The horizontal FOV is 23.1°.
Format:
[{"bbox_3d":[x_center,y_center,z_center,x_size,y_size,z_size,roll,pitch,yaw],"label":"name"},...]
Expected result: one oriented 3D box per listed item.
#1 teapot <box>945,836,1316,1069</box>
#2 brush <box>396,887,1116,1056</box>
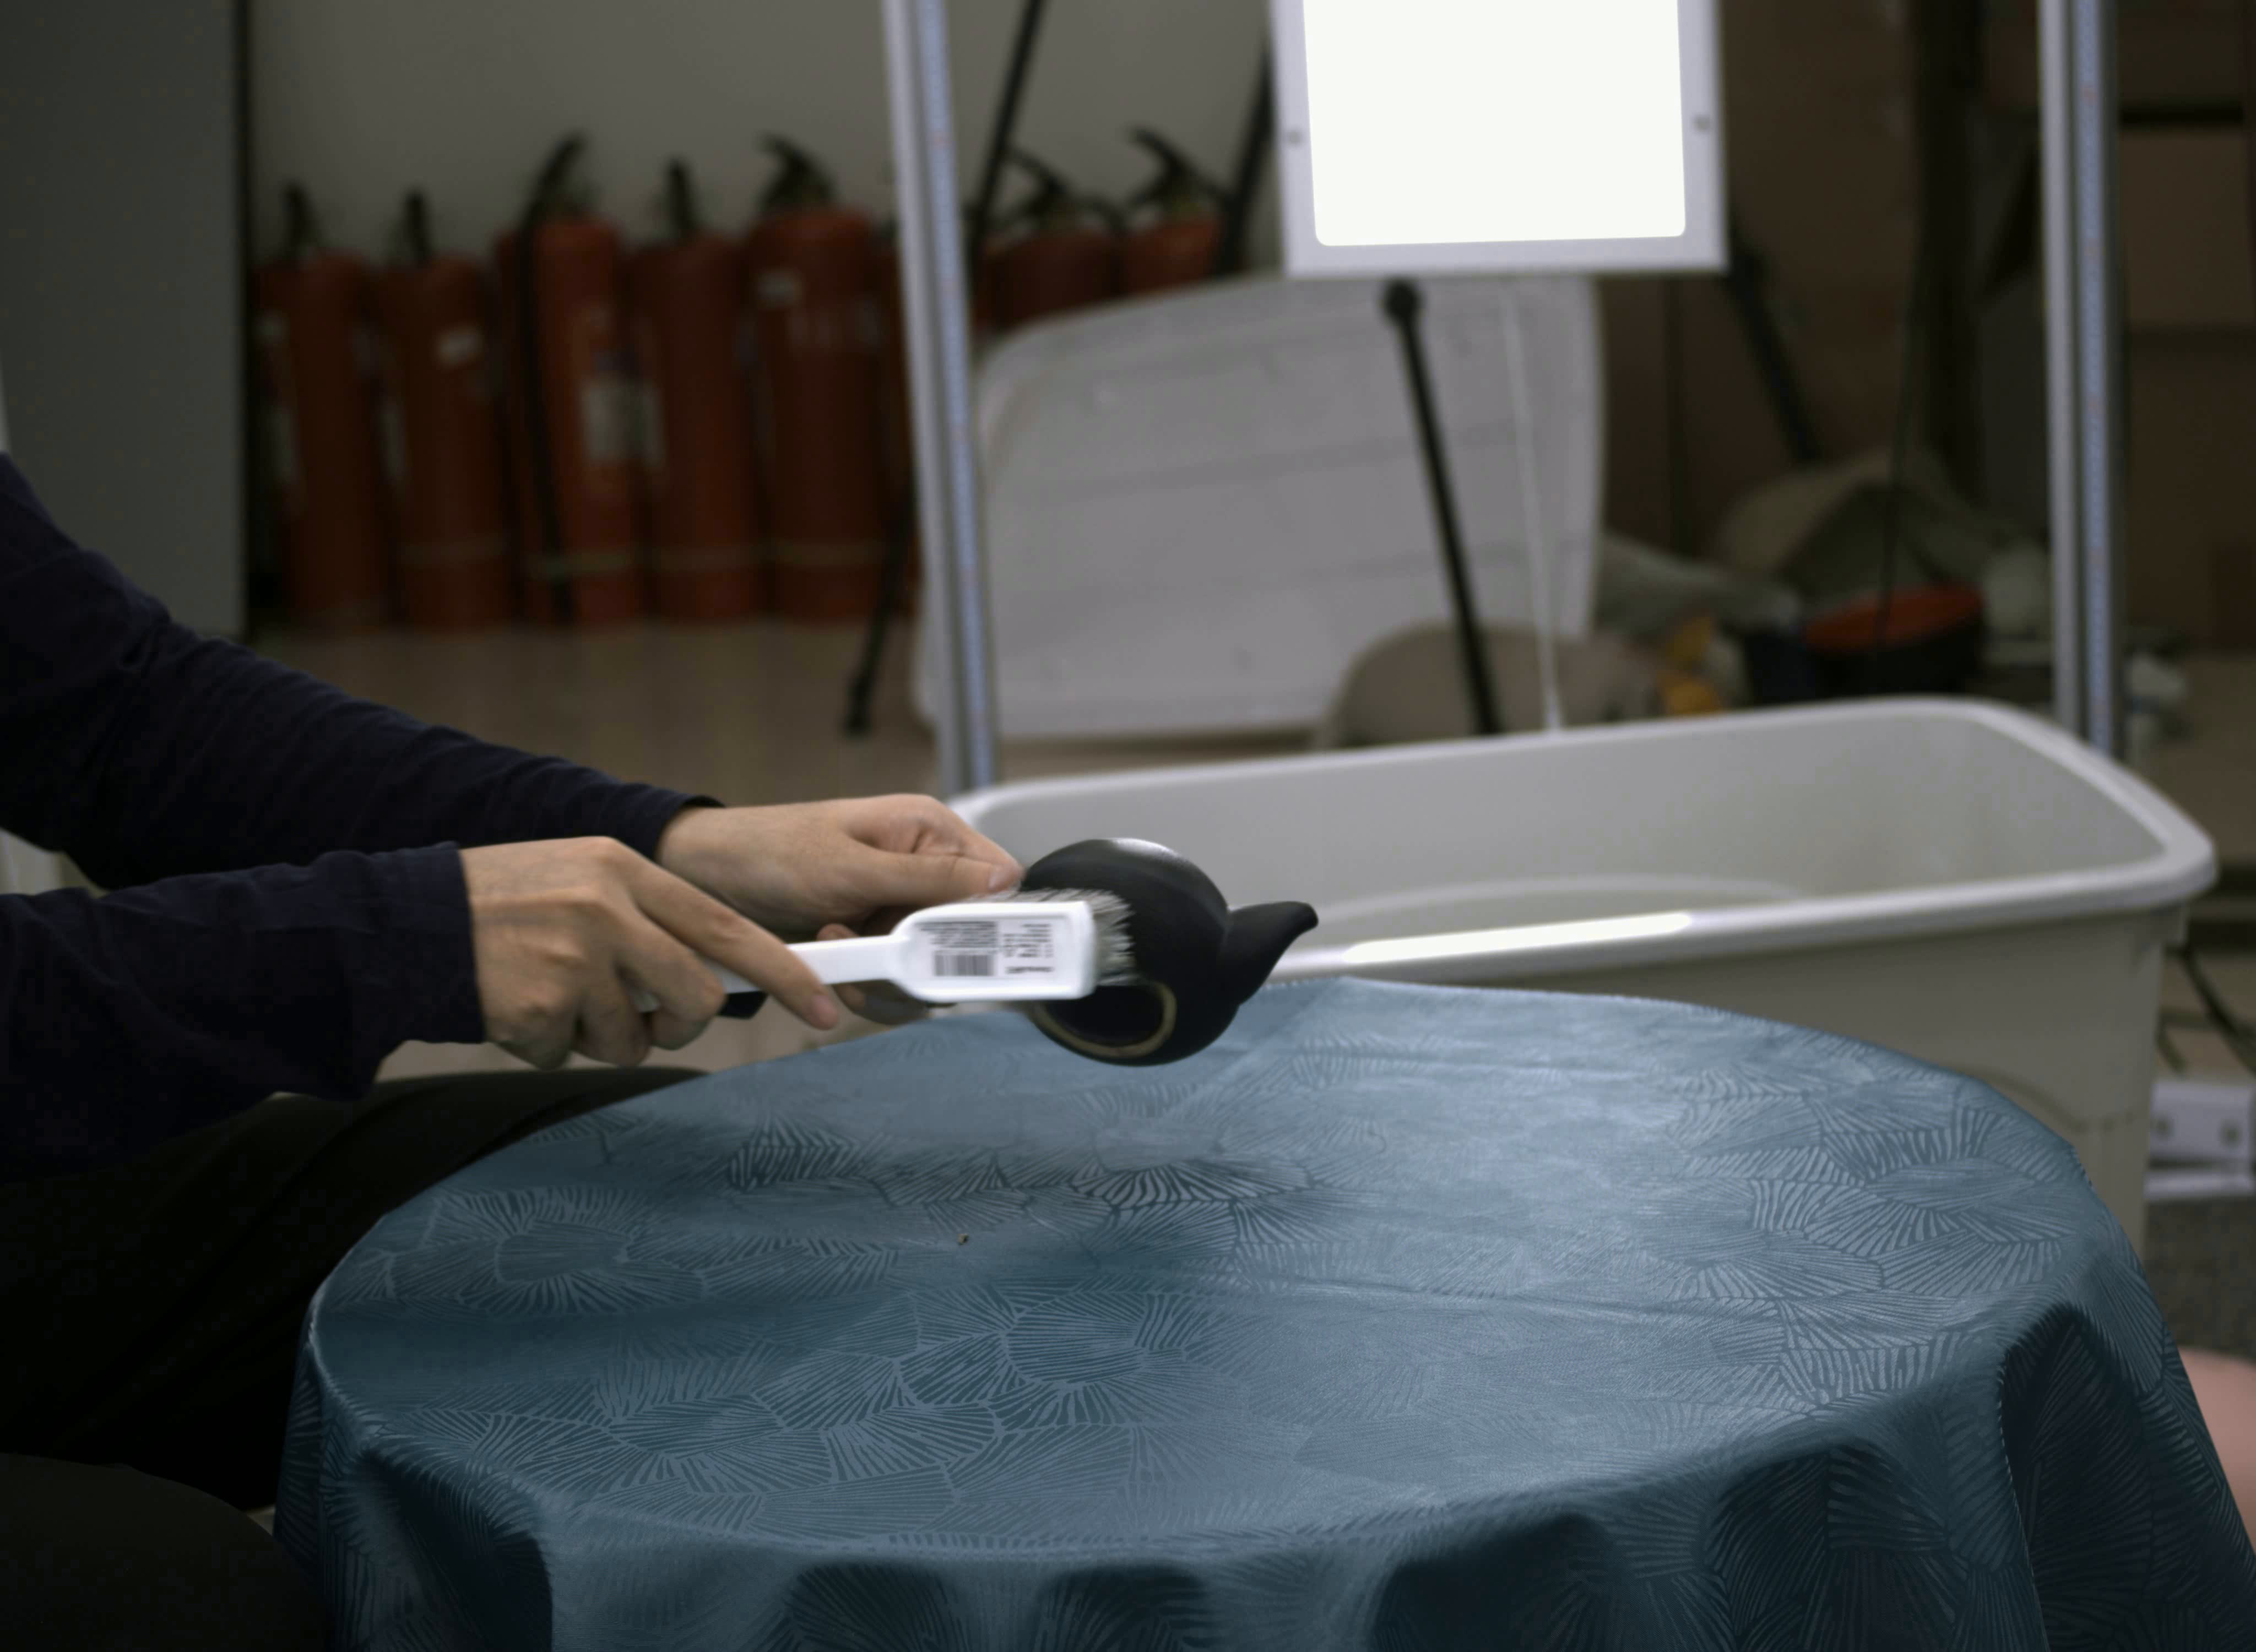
[{"bbox_3d":[-0.004,0.043,1.905,0.135,0.091,0.052,4,39,21],"label":"teapot"},{"bbox_3d":[-0.125,0.051,1.869,0.244,0.034,0.050,-7,7,7],"label":"brush"}]
